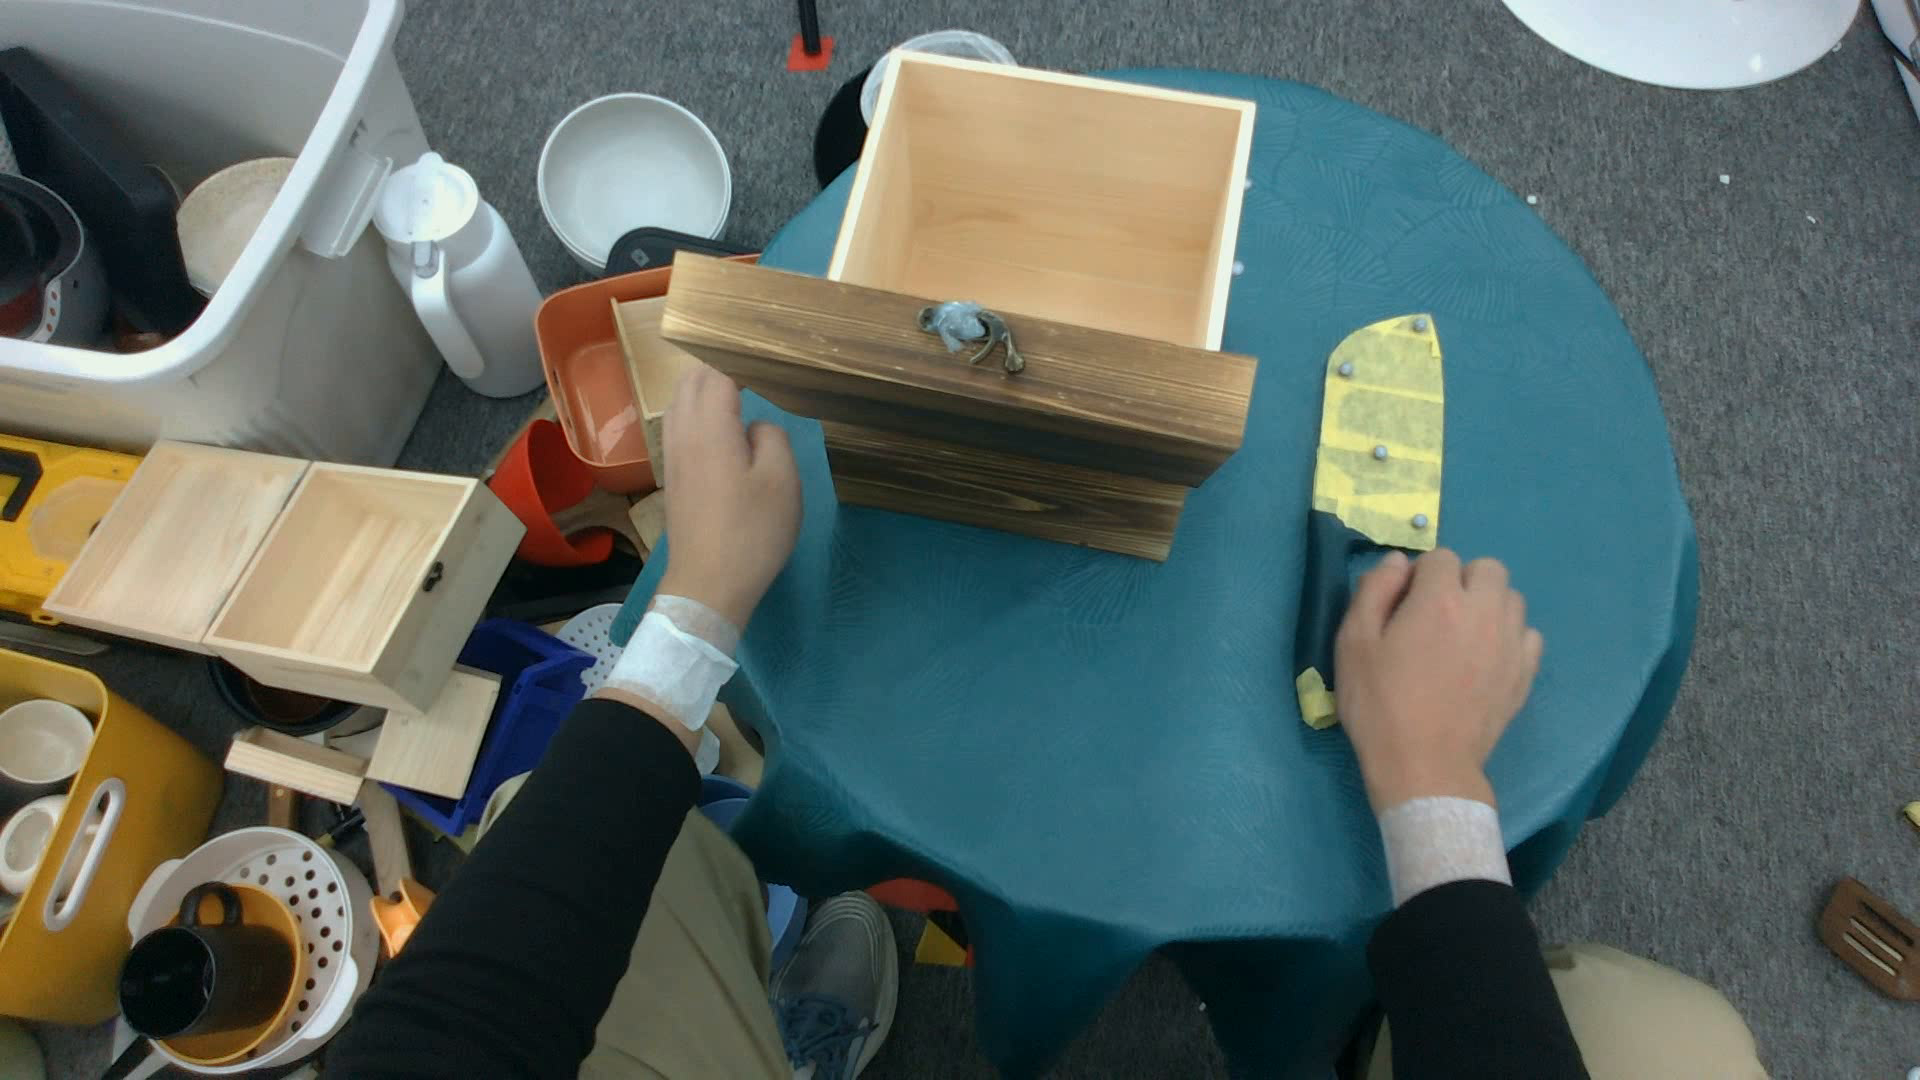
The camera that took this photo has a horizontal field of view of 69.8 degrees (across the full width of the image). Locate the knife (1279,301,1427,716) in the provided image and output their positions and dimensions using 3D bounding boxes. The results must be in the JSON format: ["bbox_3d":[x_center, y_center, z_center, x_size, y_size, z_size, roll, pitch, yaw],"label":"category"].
[{"bbox_3d":[0.235,-0.027,0.819,0.081,0.027,0.290,13,65,8],"label":"knife"}]

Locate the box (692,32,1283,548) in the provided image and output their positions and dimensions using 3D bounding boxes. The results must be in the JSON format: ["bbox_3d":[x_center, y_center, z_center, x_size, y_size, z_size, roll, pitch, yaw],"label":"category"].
[{"bbox_3d":[0.029,-0.130,0.676,0.209,0.374,0.323,11,66,4],"label":"box"}]
